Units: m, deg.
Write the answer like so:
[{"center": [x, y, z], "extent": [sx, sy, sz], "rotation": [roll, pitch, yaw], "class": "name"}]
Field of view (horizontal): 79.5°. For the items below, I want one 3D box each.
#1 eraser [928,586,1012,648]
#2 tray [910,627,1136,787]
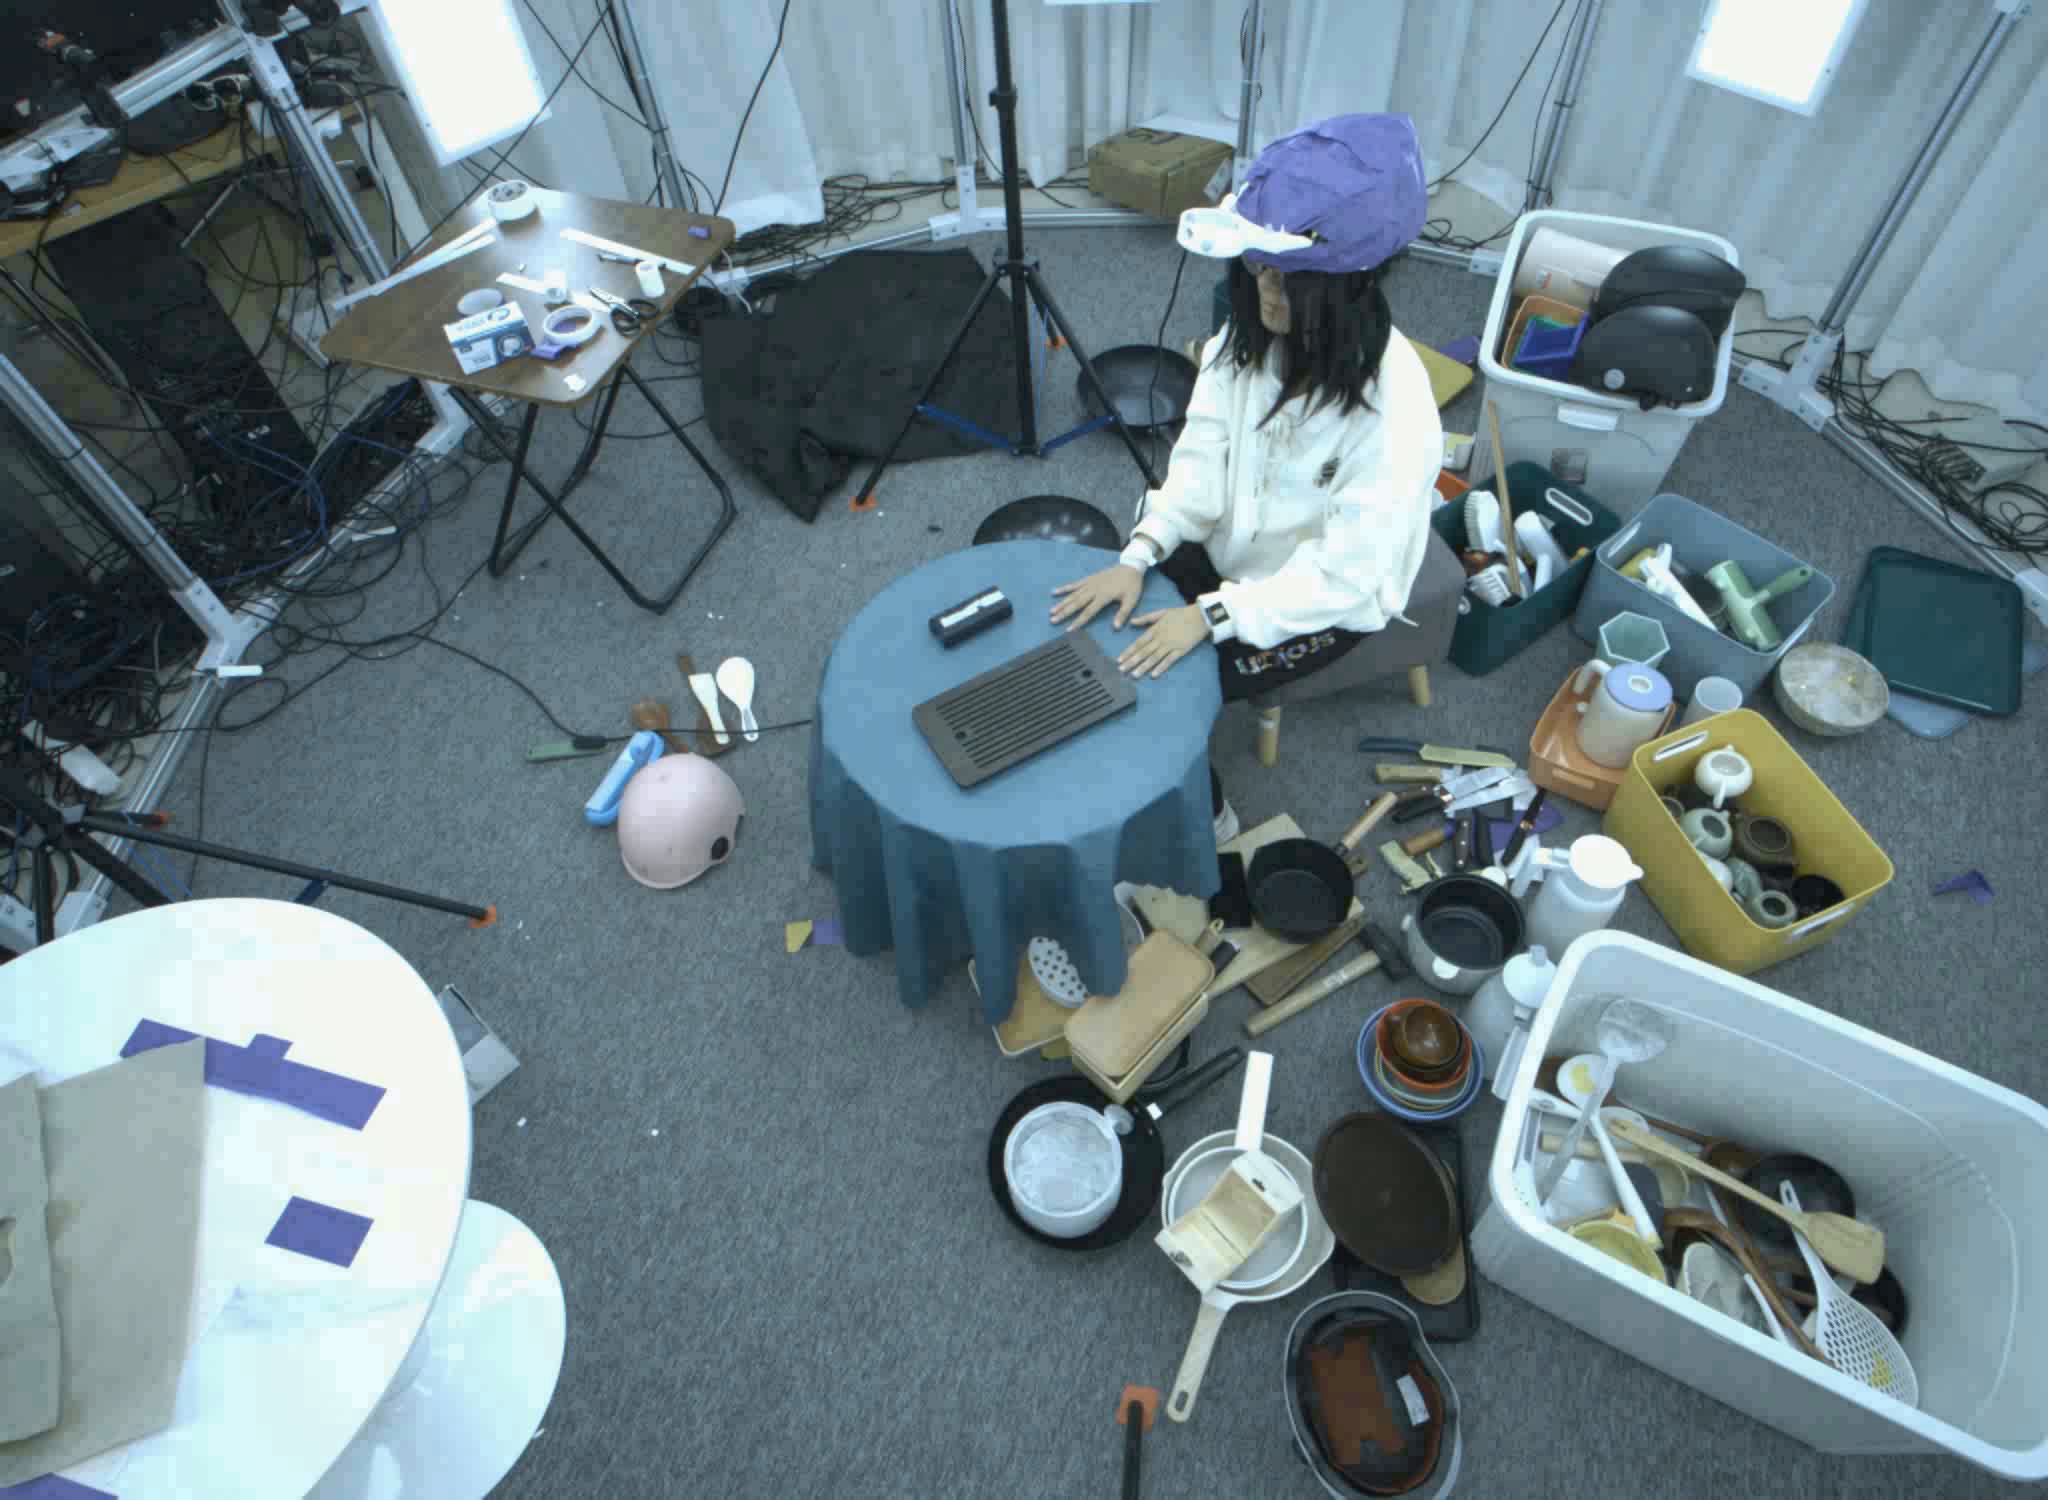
[{"center": [-0.085, -0.209, 1.922], "extent": [0.126, 0.031, 0.052], "rotation": [-29, 61, -19], "class": "eraser"}, {"center": [-0.002, -0.067, 1.824], "extent": [0.308, 0.019, 0.167], "rotation": [-27, 58, -16], "class": "tray"}]
